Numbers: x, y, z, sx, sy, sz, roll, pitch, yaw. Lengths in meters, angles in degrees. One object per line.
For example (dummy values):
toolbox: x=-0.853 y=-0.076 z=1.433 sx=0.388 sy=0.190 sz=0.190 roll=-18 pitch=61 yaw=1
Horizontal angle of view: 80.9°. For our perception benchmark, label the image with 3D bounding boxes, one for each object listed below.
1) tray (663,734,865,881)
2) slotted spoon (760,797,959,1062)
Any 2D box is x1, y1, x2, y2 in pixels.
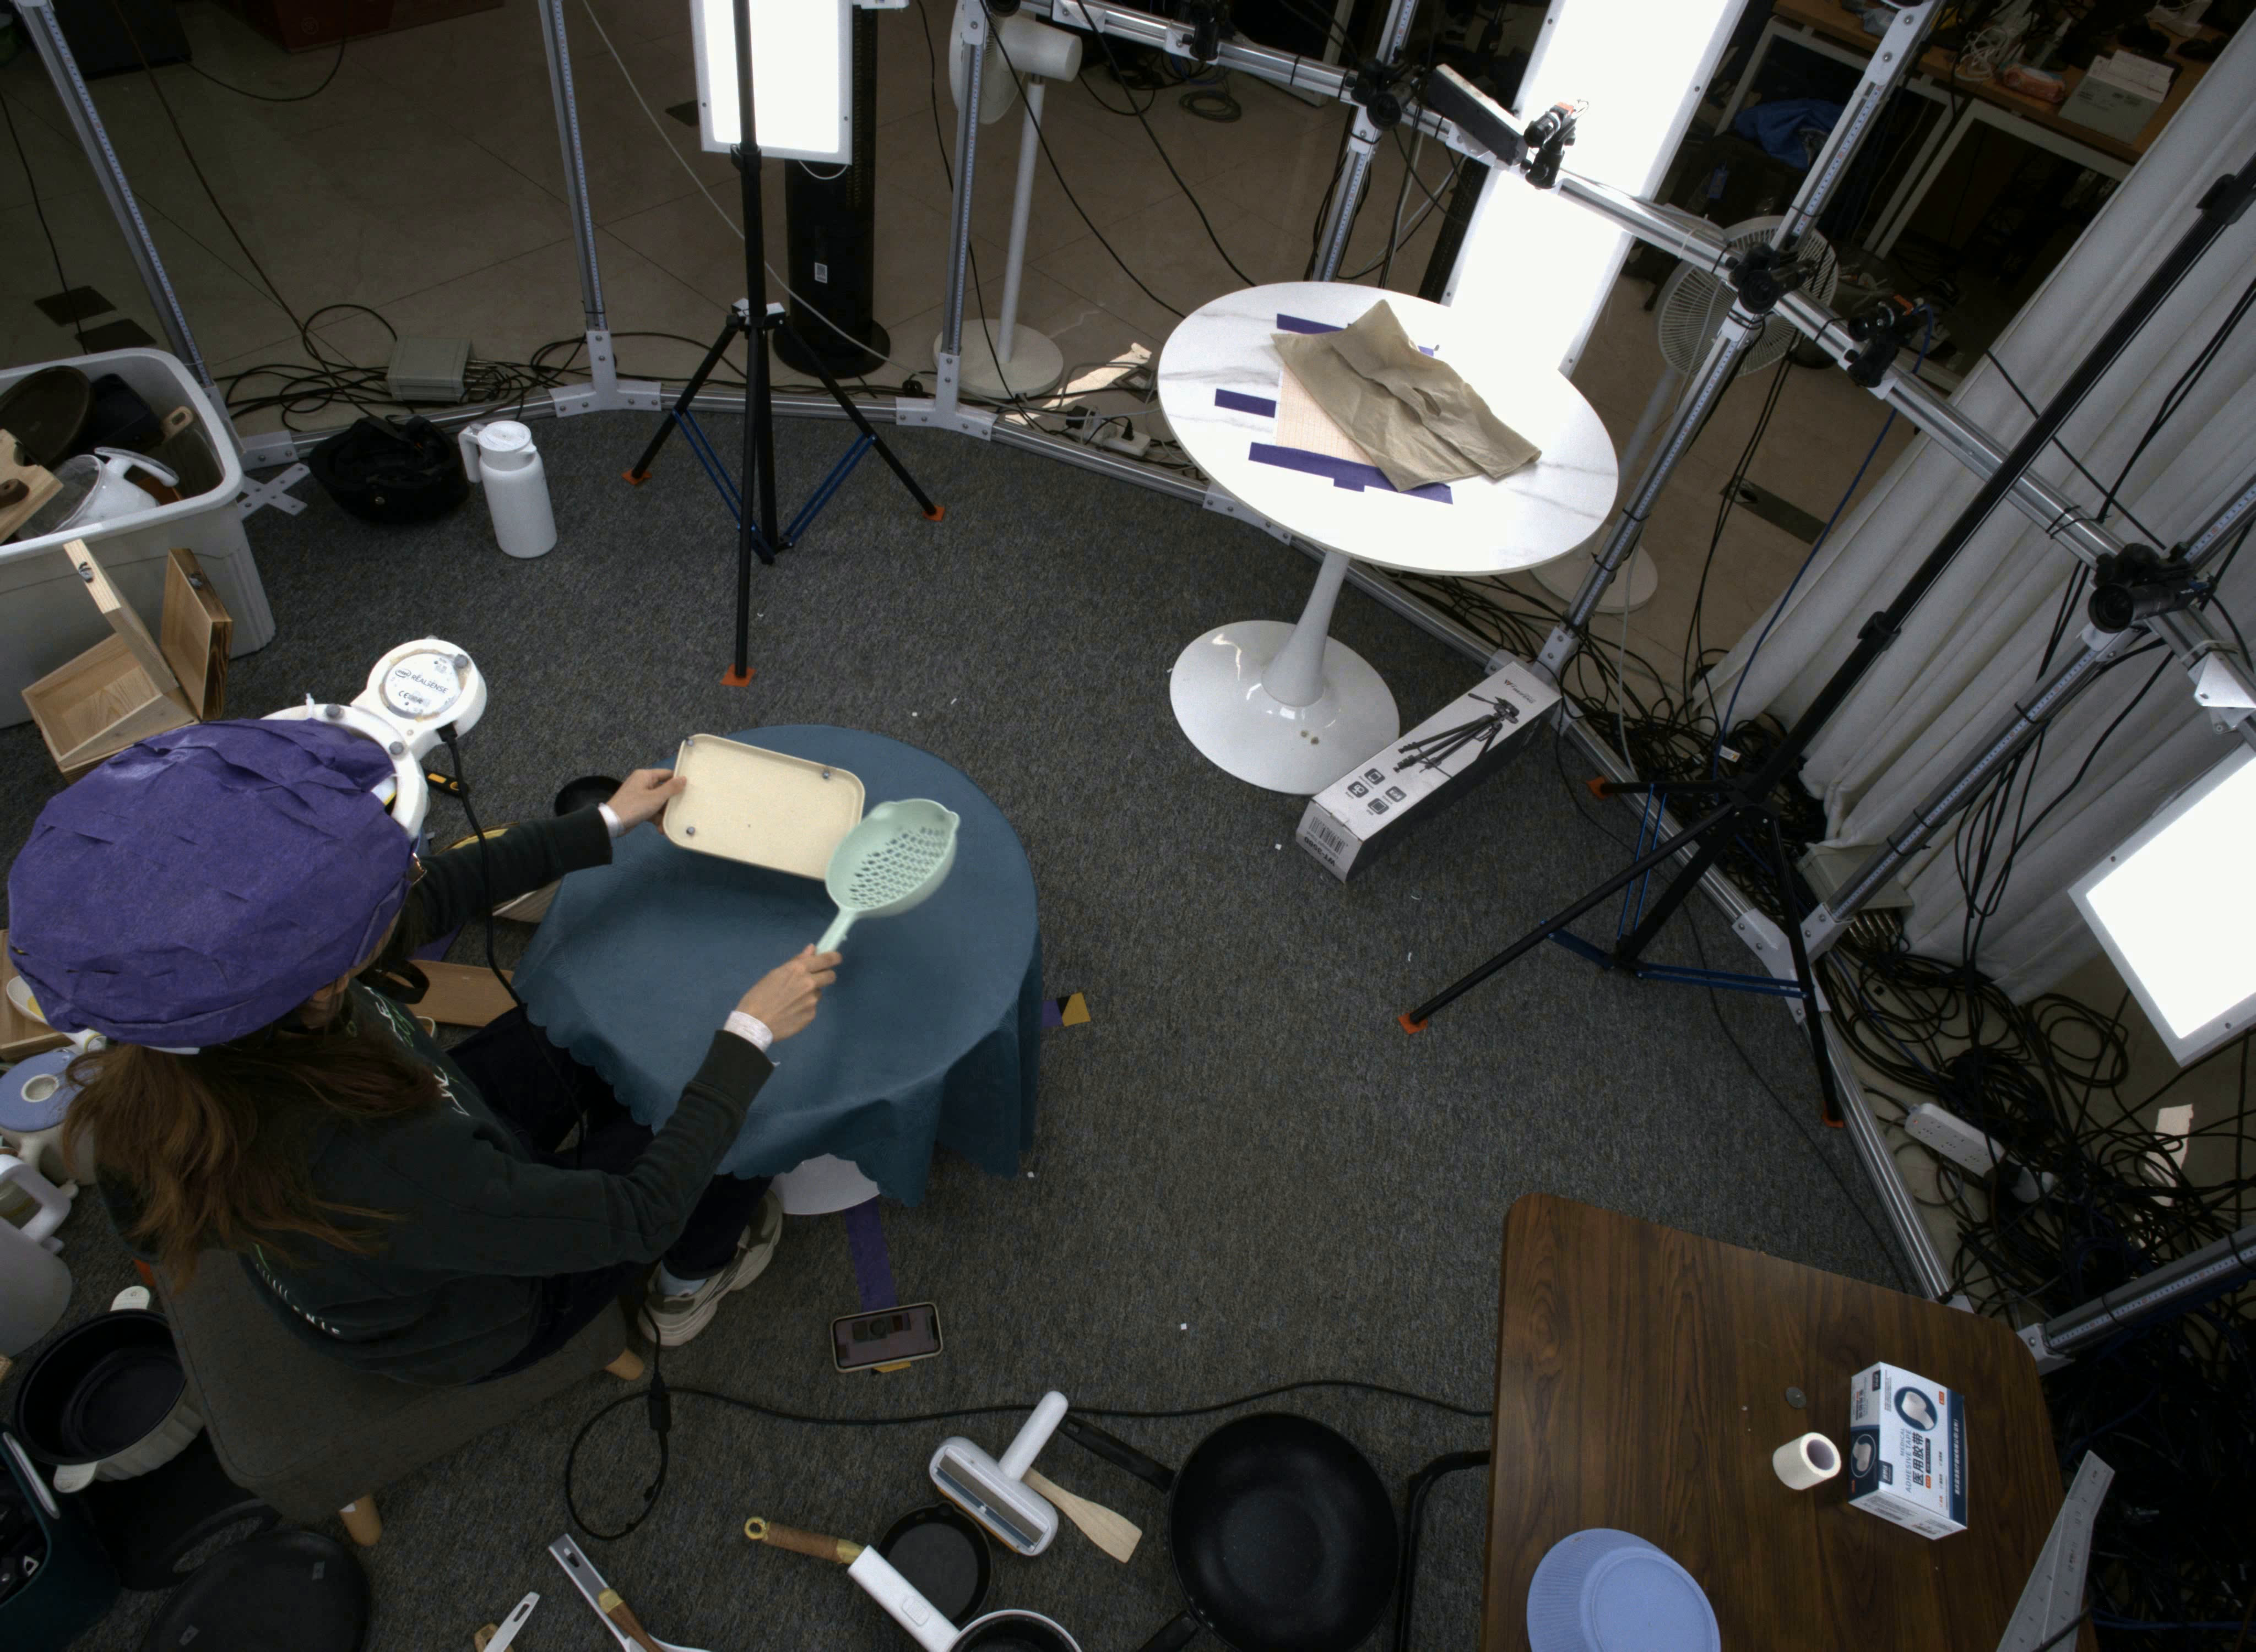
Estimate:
tray: x=-0.456 y=-0.023 z=1.631 sx=0.243 sy=0.017 sz=0.168 roll=15 pitch=55 yaw=-22
slotted spoon: x=-0.319 y=0.110 z=1.493 sx=0.163 sy=0.078 sz=0.358 roll=8 pitch=46 yaw=36
